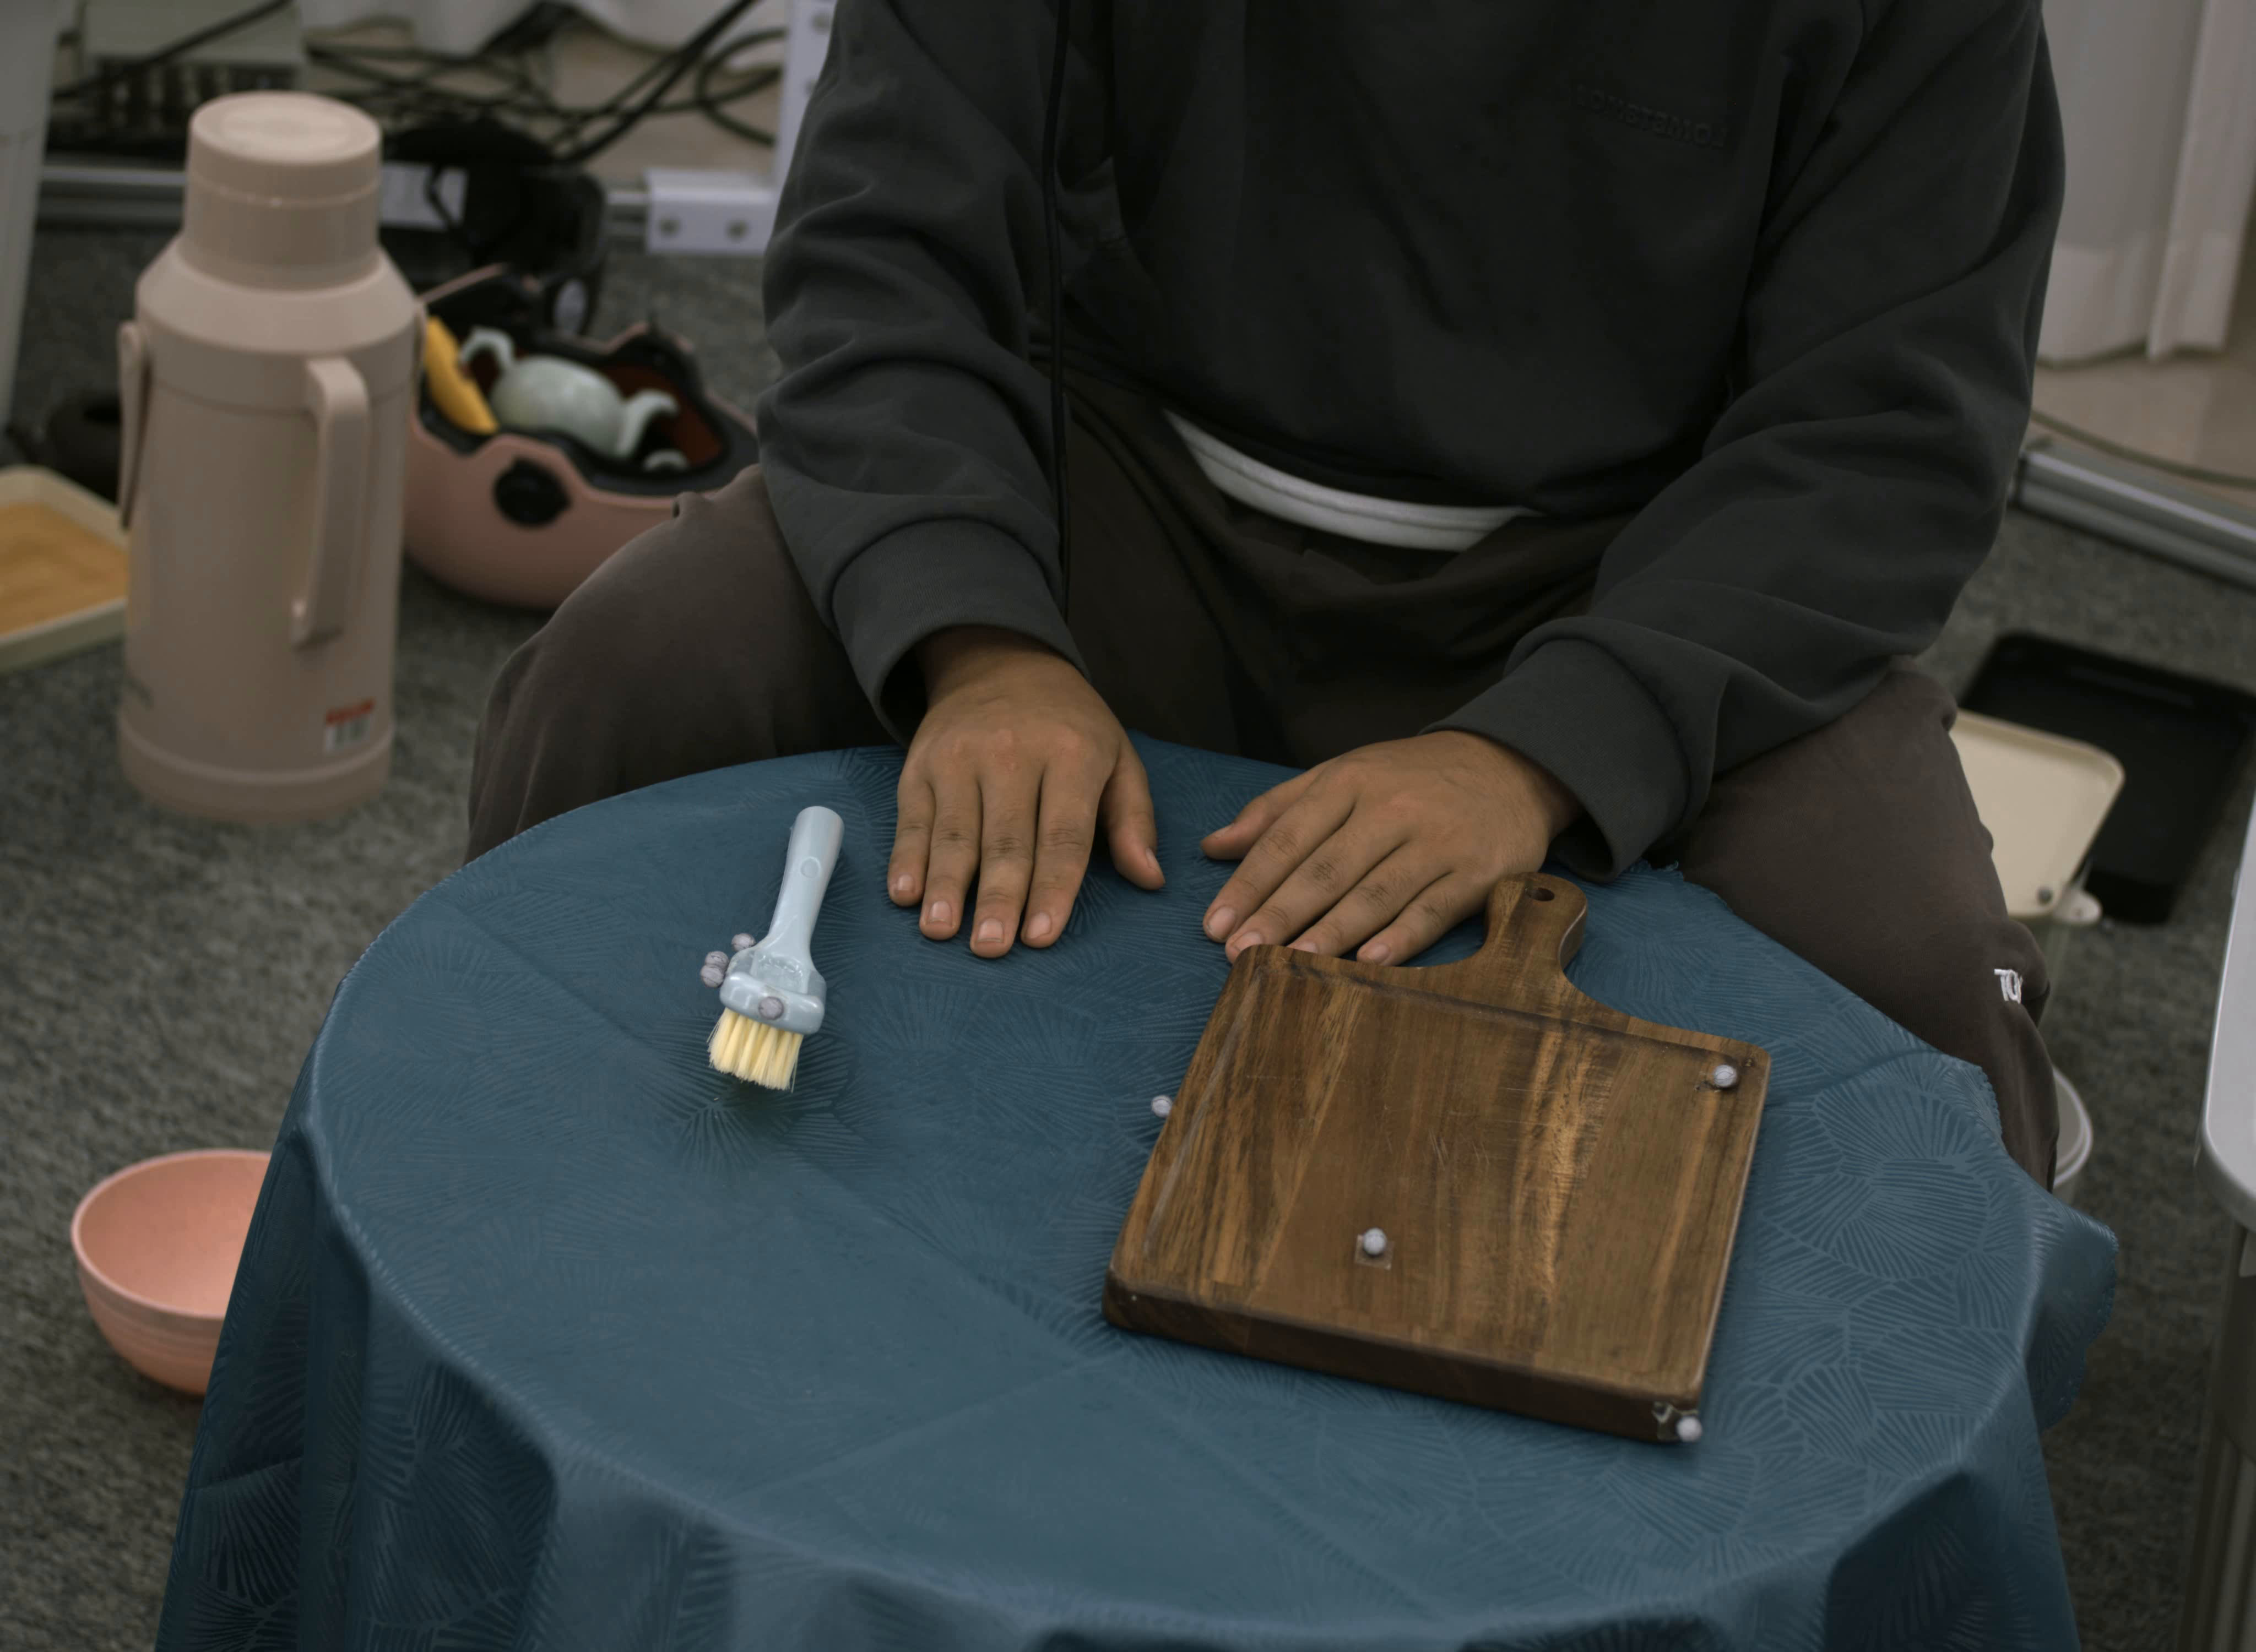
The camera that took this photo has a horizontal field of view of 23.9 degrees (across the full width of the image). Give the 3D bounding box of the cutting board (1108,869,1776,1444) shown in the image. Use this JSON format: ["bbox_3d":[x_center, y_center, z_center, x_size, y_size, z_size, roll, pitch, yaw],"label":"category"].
[{"bbox_3d":[0.123,0.099,1.861,0.201,0.023,0.353,11,27,8],"label":"cutting board"}]

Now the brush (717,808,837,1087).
[{"bbox_3d":[-0.124,0.042,1.902,0.037,0.049,0.230,18,18,-6],"label":"brush"}]
